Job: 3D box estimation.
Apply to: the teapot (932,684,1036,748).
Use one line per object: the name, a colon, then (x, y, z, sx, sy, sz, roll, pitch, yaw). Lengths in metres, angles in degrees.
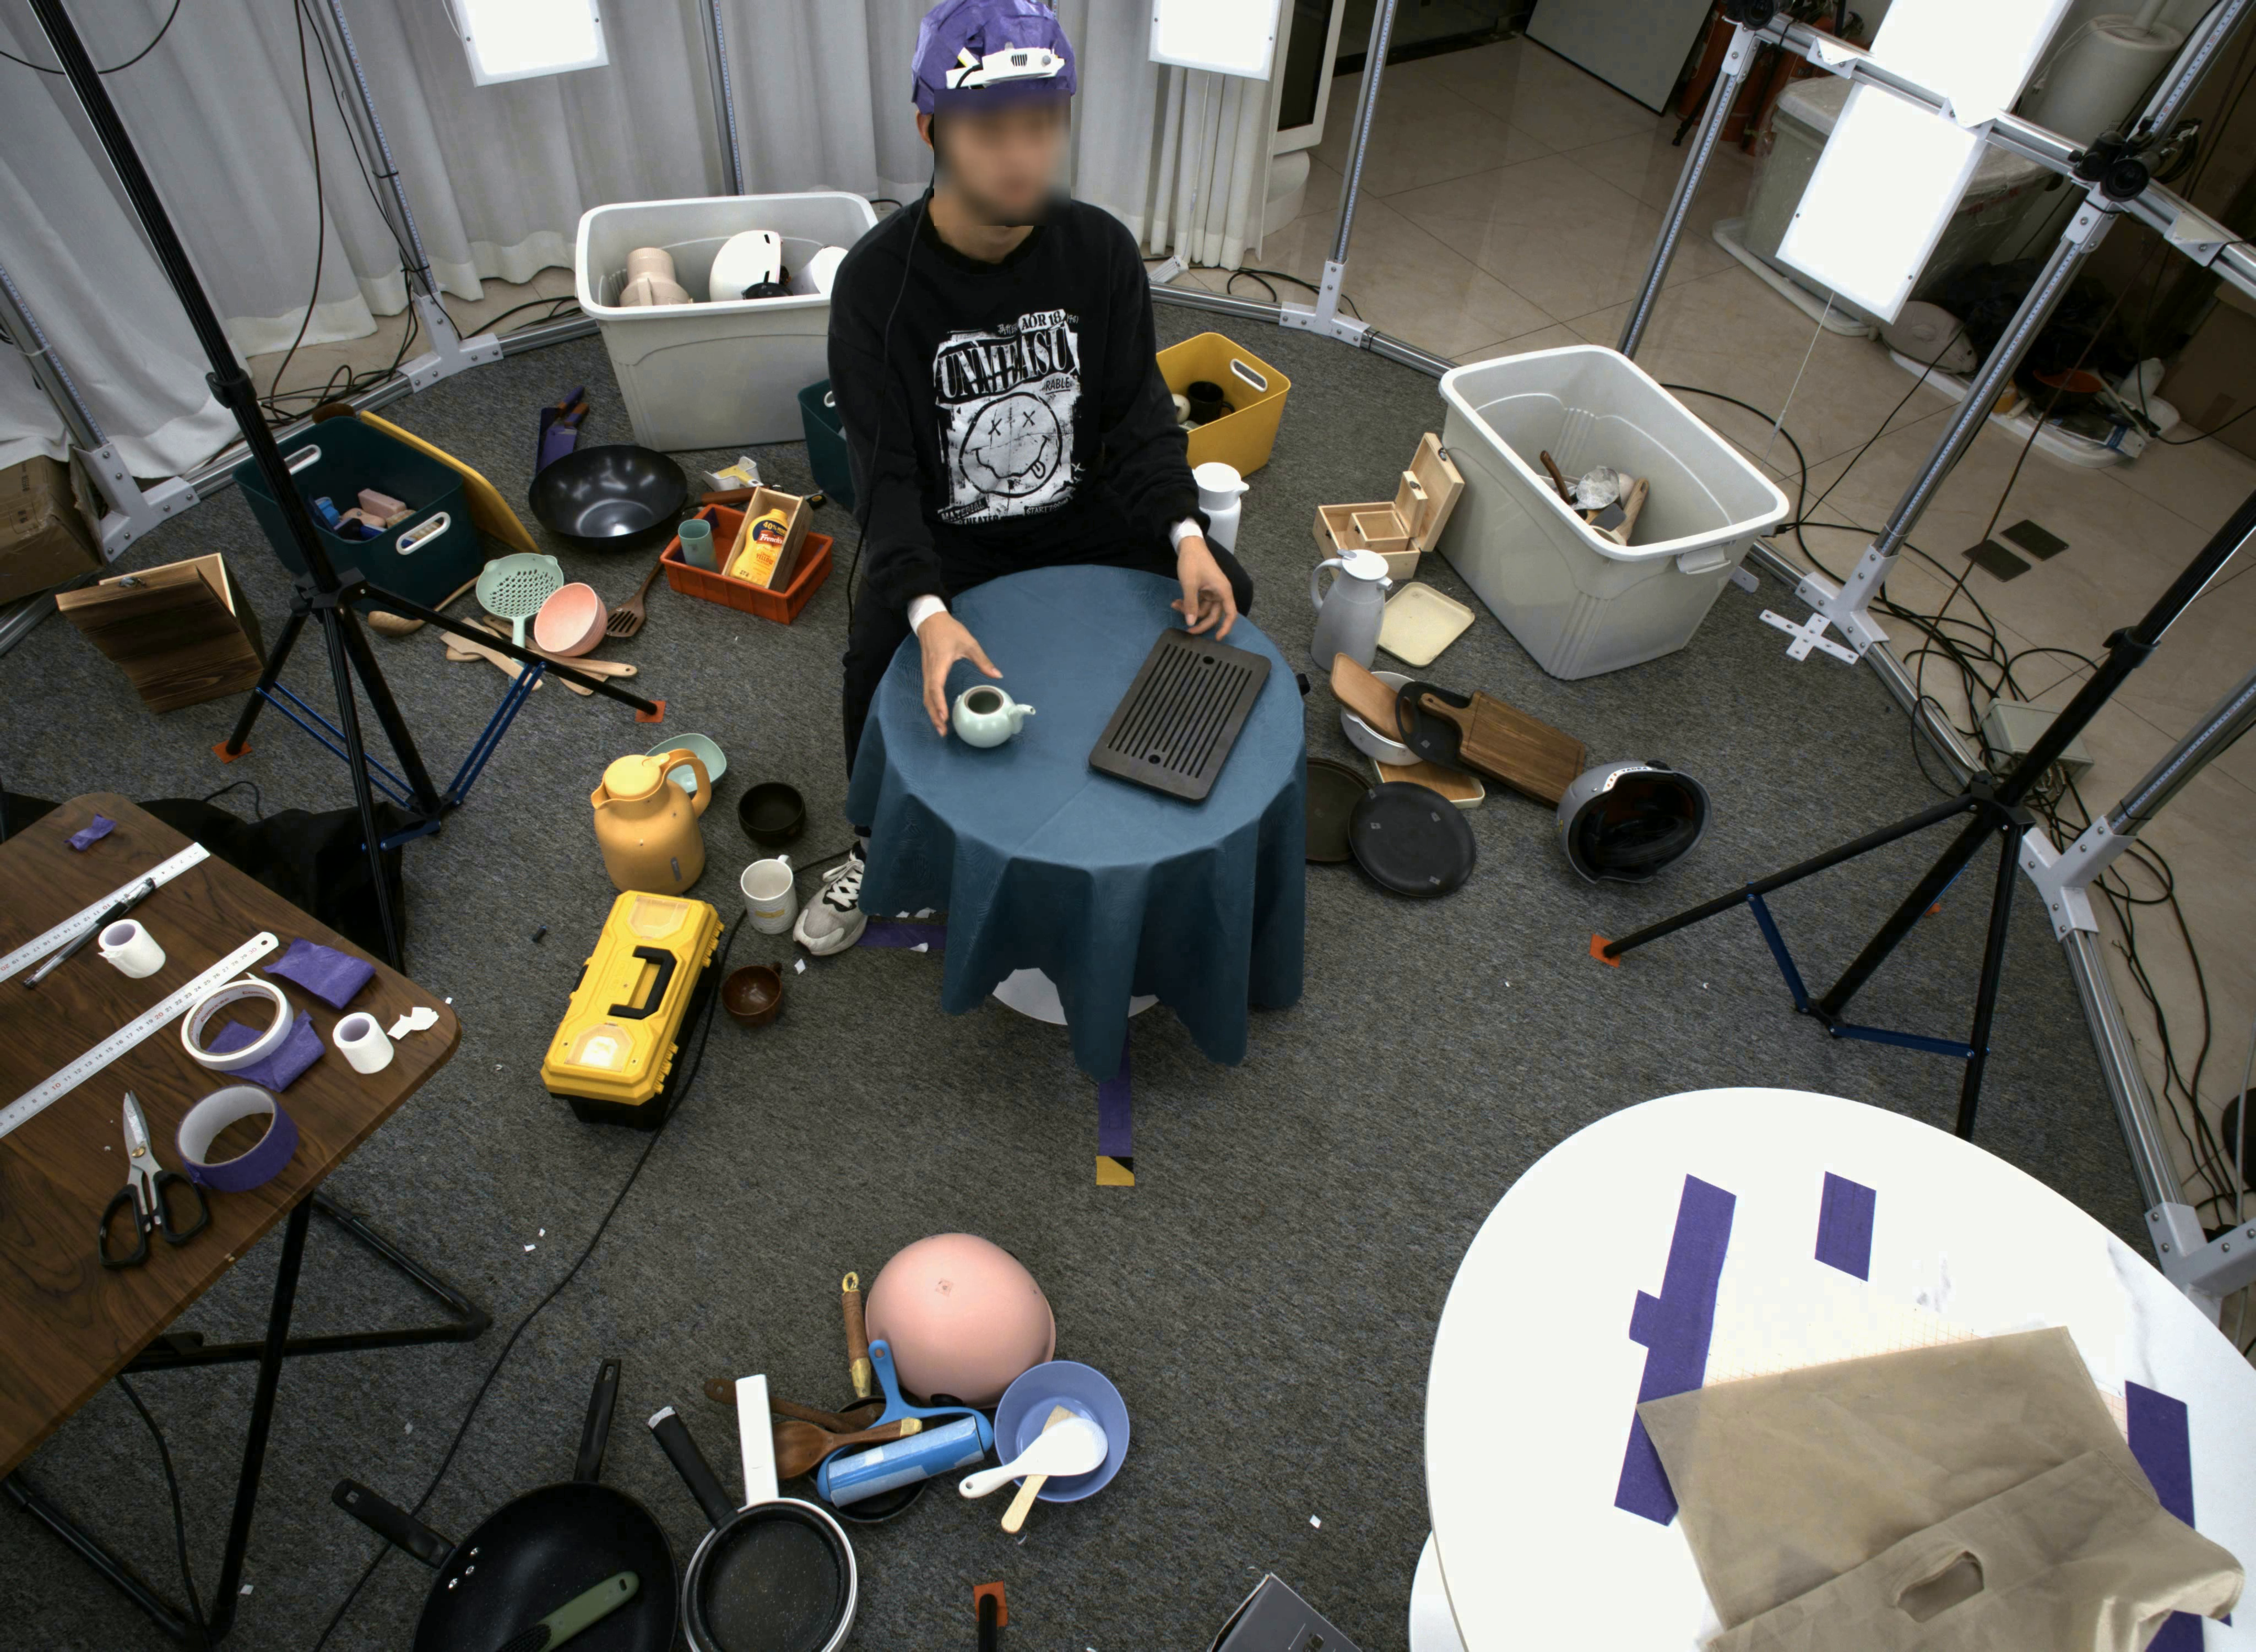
teapot: (-0.194, -0.150, 1.740, 0.144, 0.073, 0.090, 16, 50, 8)

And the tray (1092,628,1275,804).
tray: (0.082, -0.159, 1.801, 0.171, 0.018, 0.312, 19, 50, 13)
